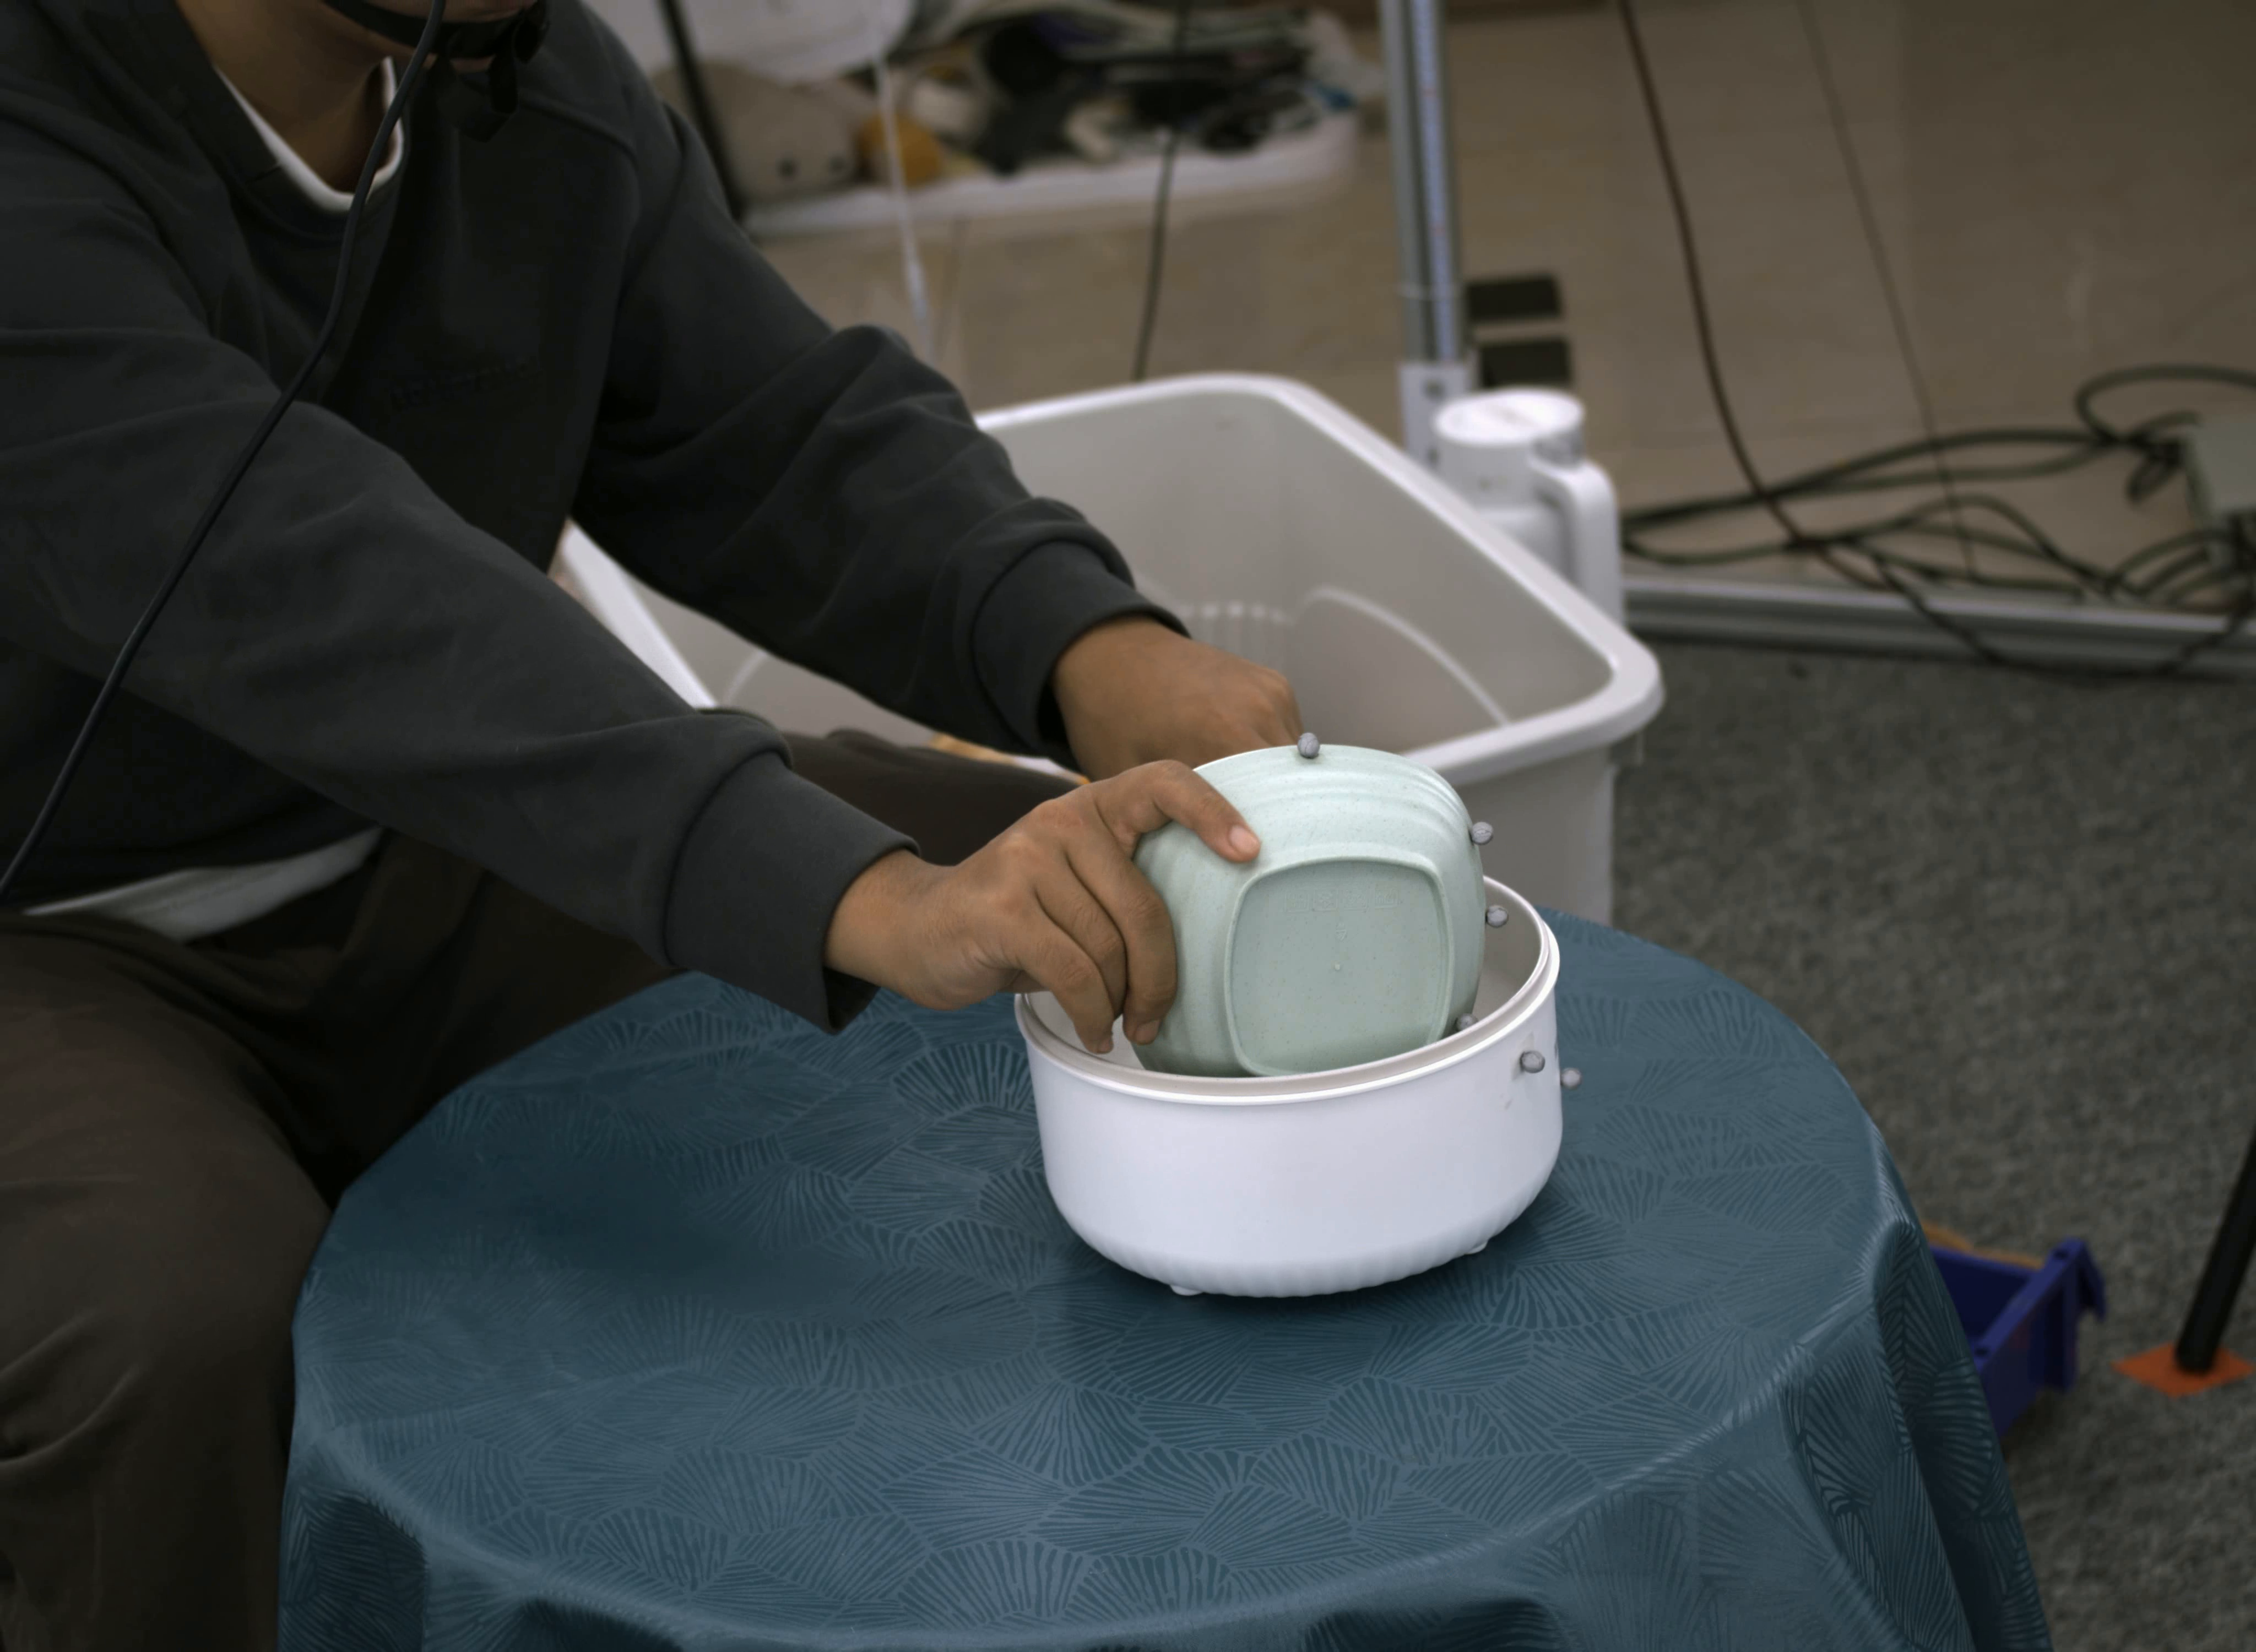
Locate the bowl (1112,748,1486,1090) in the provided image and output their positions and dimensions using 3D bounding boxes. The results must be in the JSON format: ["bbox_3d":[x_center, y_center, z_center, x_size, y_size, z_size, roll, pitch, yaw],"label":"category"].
[{"bbox_3d":[0.067,0.045,2.027,0.151,0.153,0.058,-11,17,-10],"label":"bowl"}]

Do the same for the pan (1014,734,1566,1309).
[{"bbox_3d":[0.055,0.072,2.175,0.201,0.103,0.350,-11,23,-3],"label":"pan"}]
